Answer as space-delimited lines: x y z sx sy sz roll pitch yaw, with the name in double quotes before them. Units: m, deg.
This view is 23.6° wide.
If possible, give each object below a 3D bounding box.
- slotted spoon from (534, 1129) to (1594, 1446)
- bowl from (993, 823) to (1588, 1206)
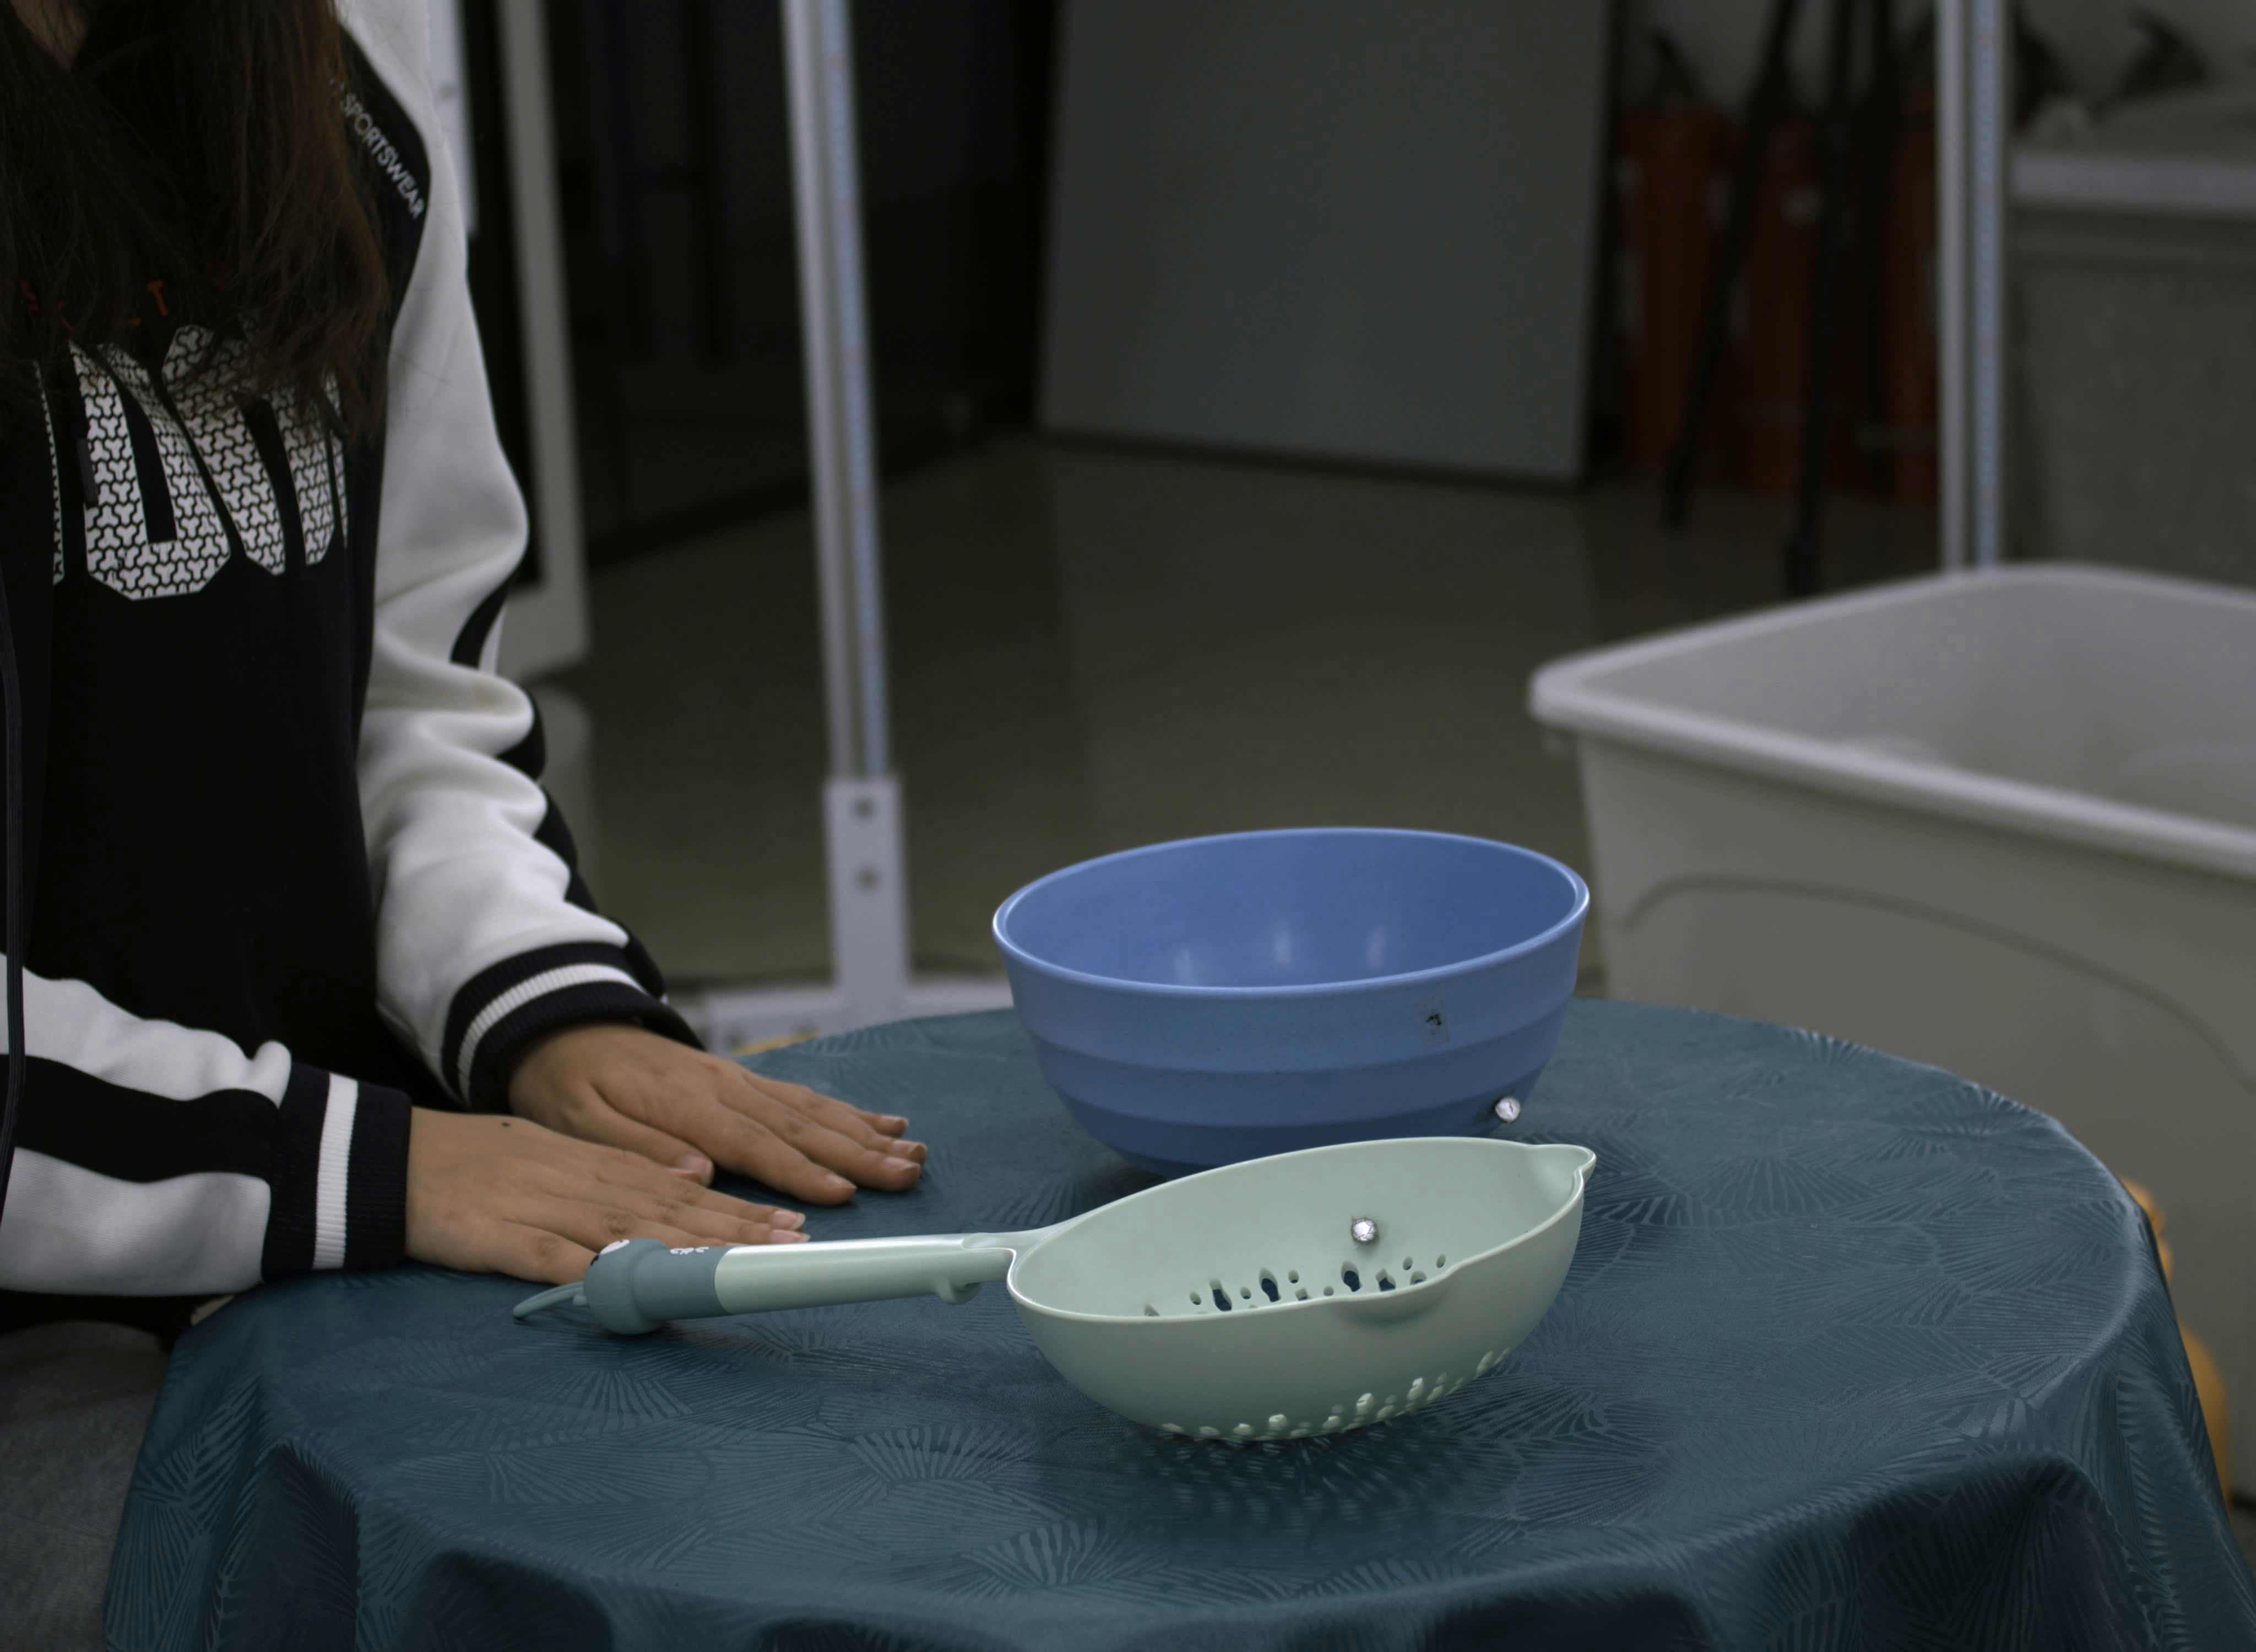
"slotted spoon" -0.032 0.136 1.596 0.360 0.076 0.167 2 14 30
"bowl" 0.056 0.070 1.762 0.194 0.096 0.197 -5 14 0
